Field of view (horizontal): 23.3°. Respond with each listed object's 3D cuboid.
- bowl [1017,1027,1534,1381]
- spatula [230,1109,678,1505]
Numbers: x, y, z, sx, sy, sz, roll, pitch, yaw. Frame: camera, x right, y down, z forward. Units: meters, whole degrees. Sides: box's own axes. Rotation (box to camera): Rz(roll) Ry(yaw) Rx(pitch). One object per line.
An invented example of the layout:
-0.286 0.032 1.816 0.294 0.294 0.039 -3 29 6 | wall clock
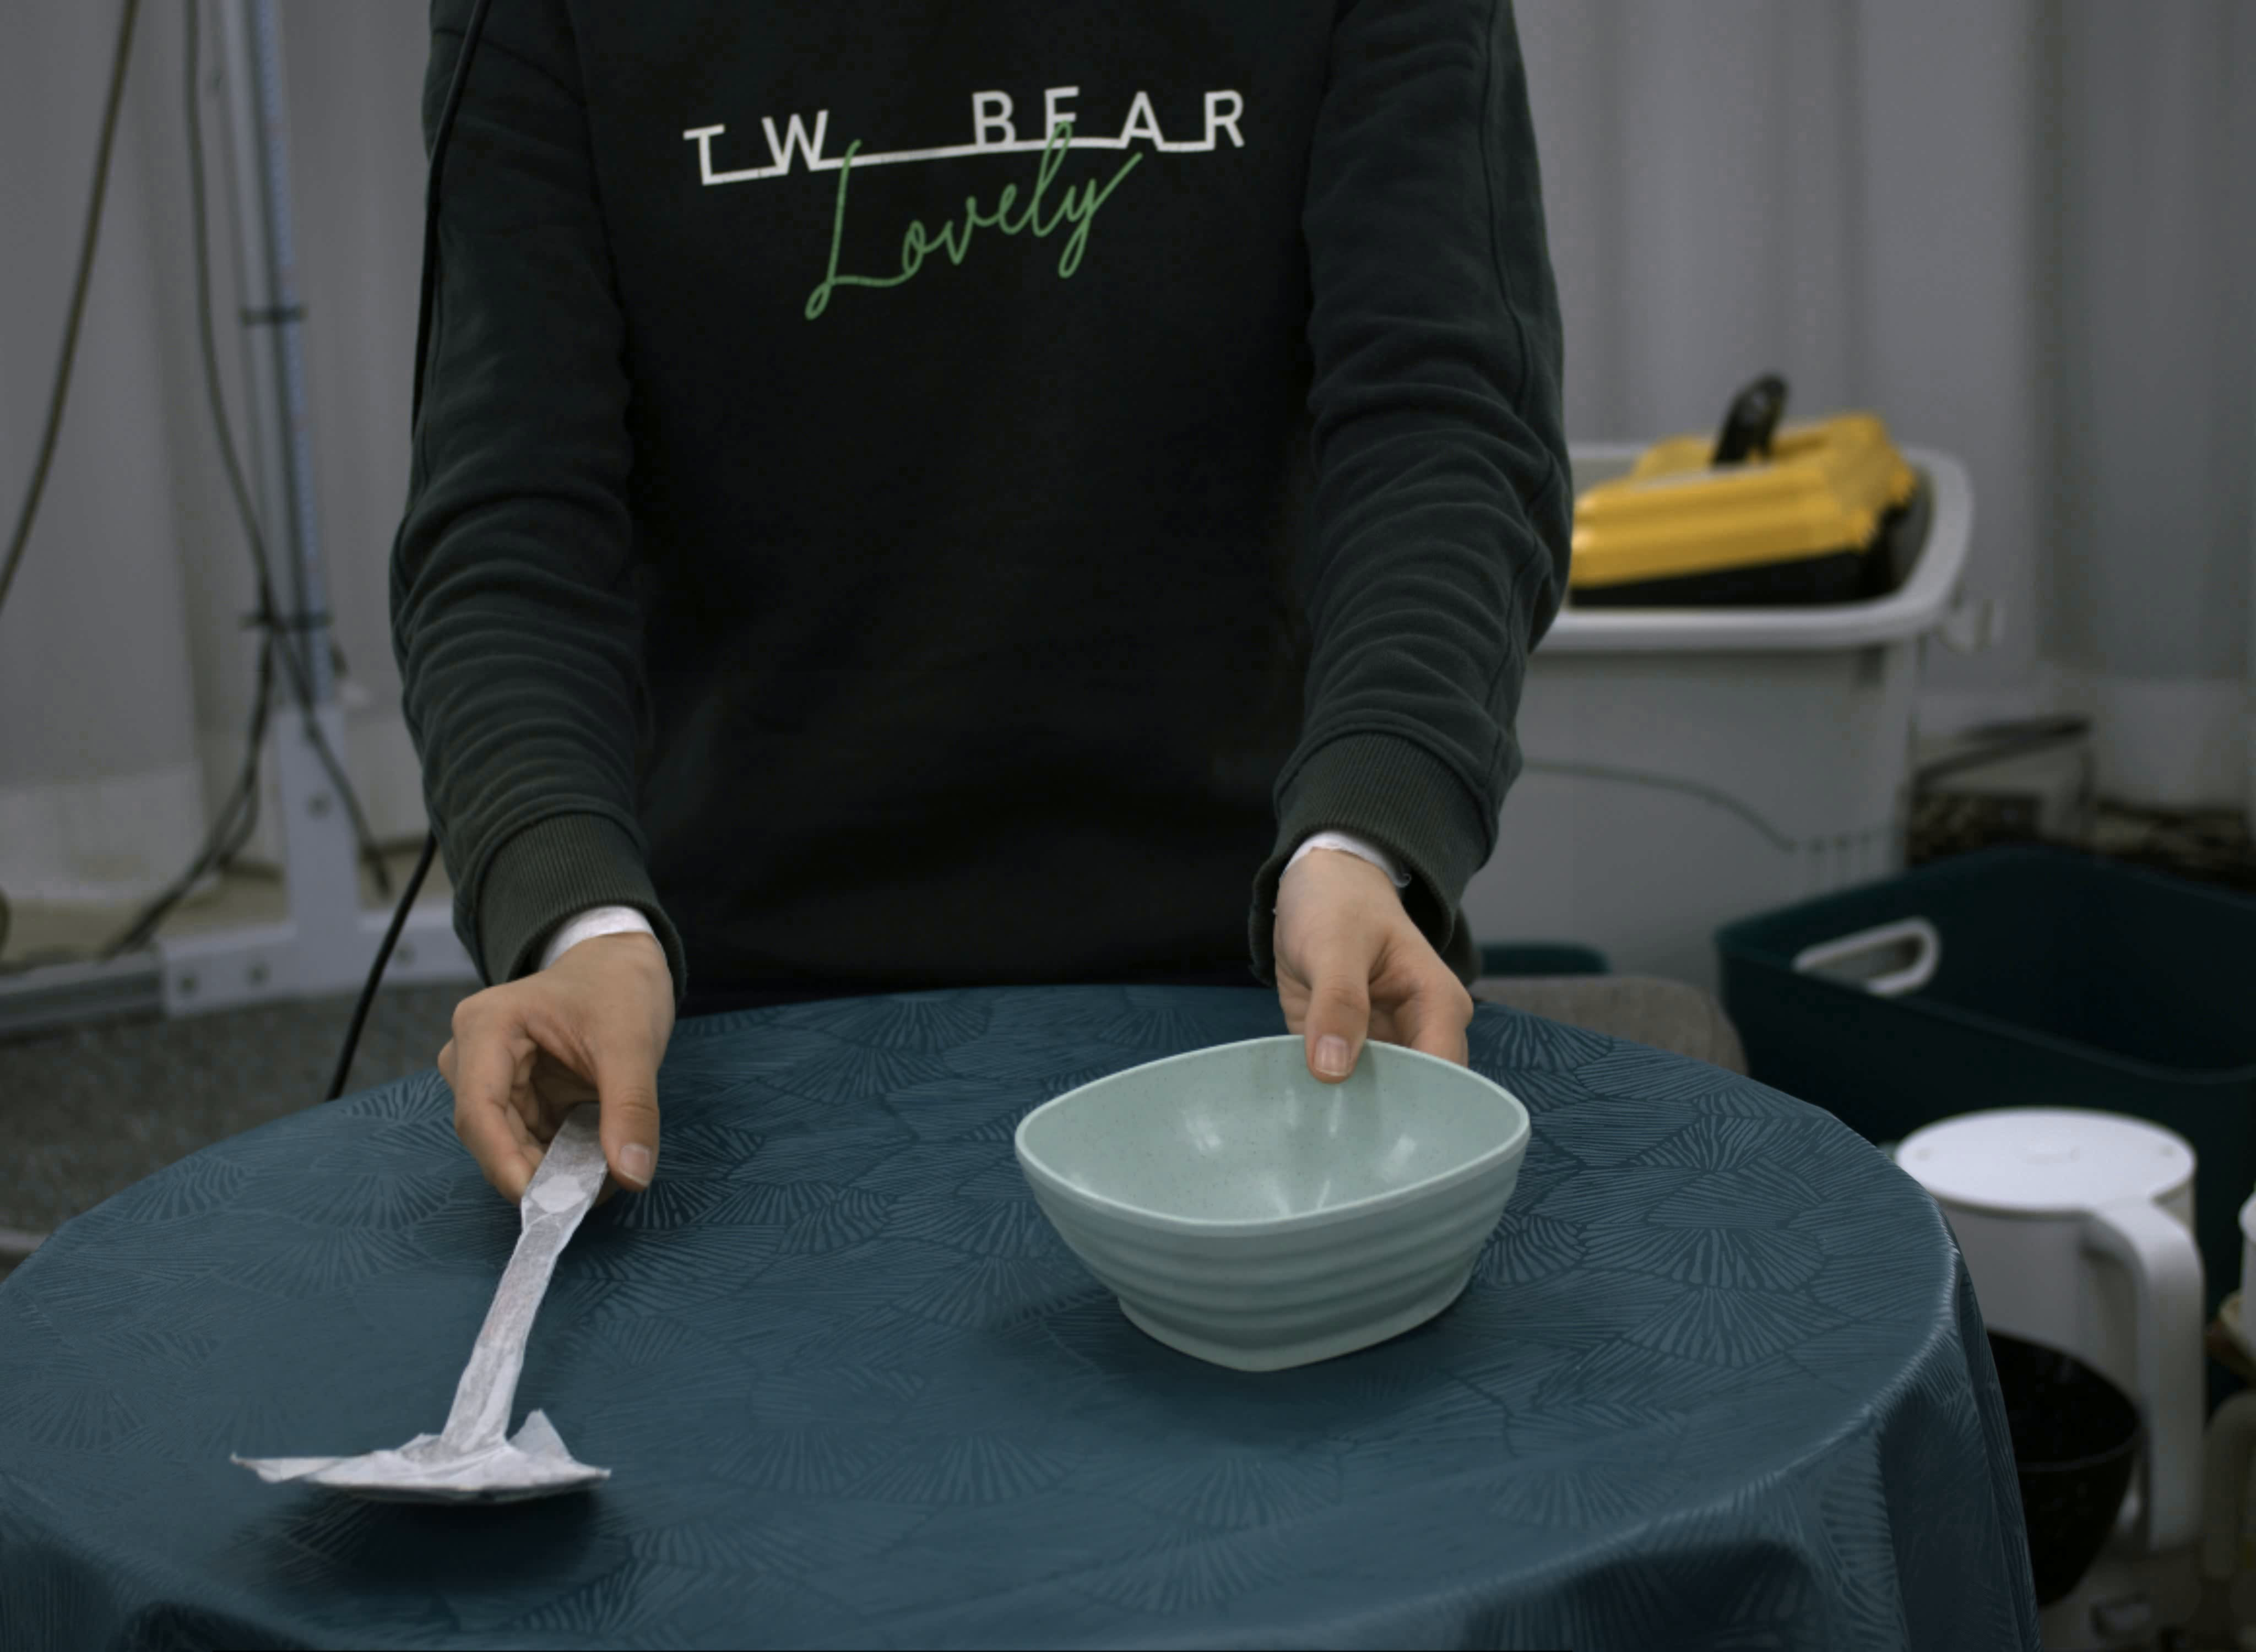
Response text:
0.044 0.114 1.592 0.151 0.058 0.153 -4 20 1 | bowl
-0.173 0.131 1.589 0.098 0.044 0.367 0 18 5 | spatula
